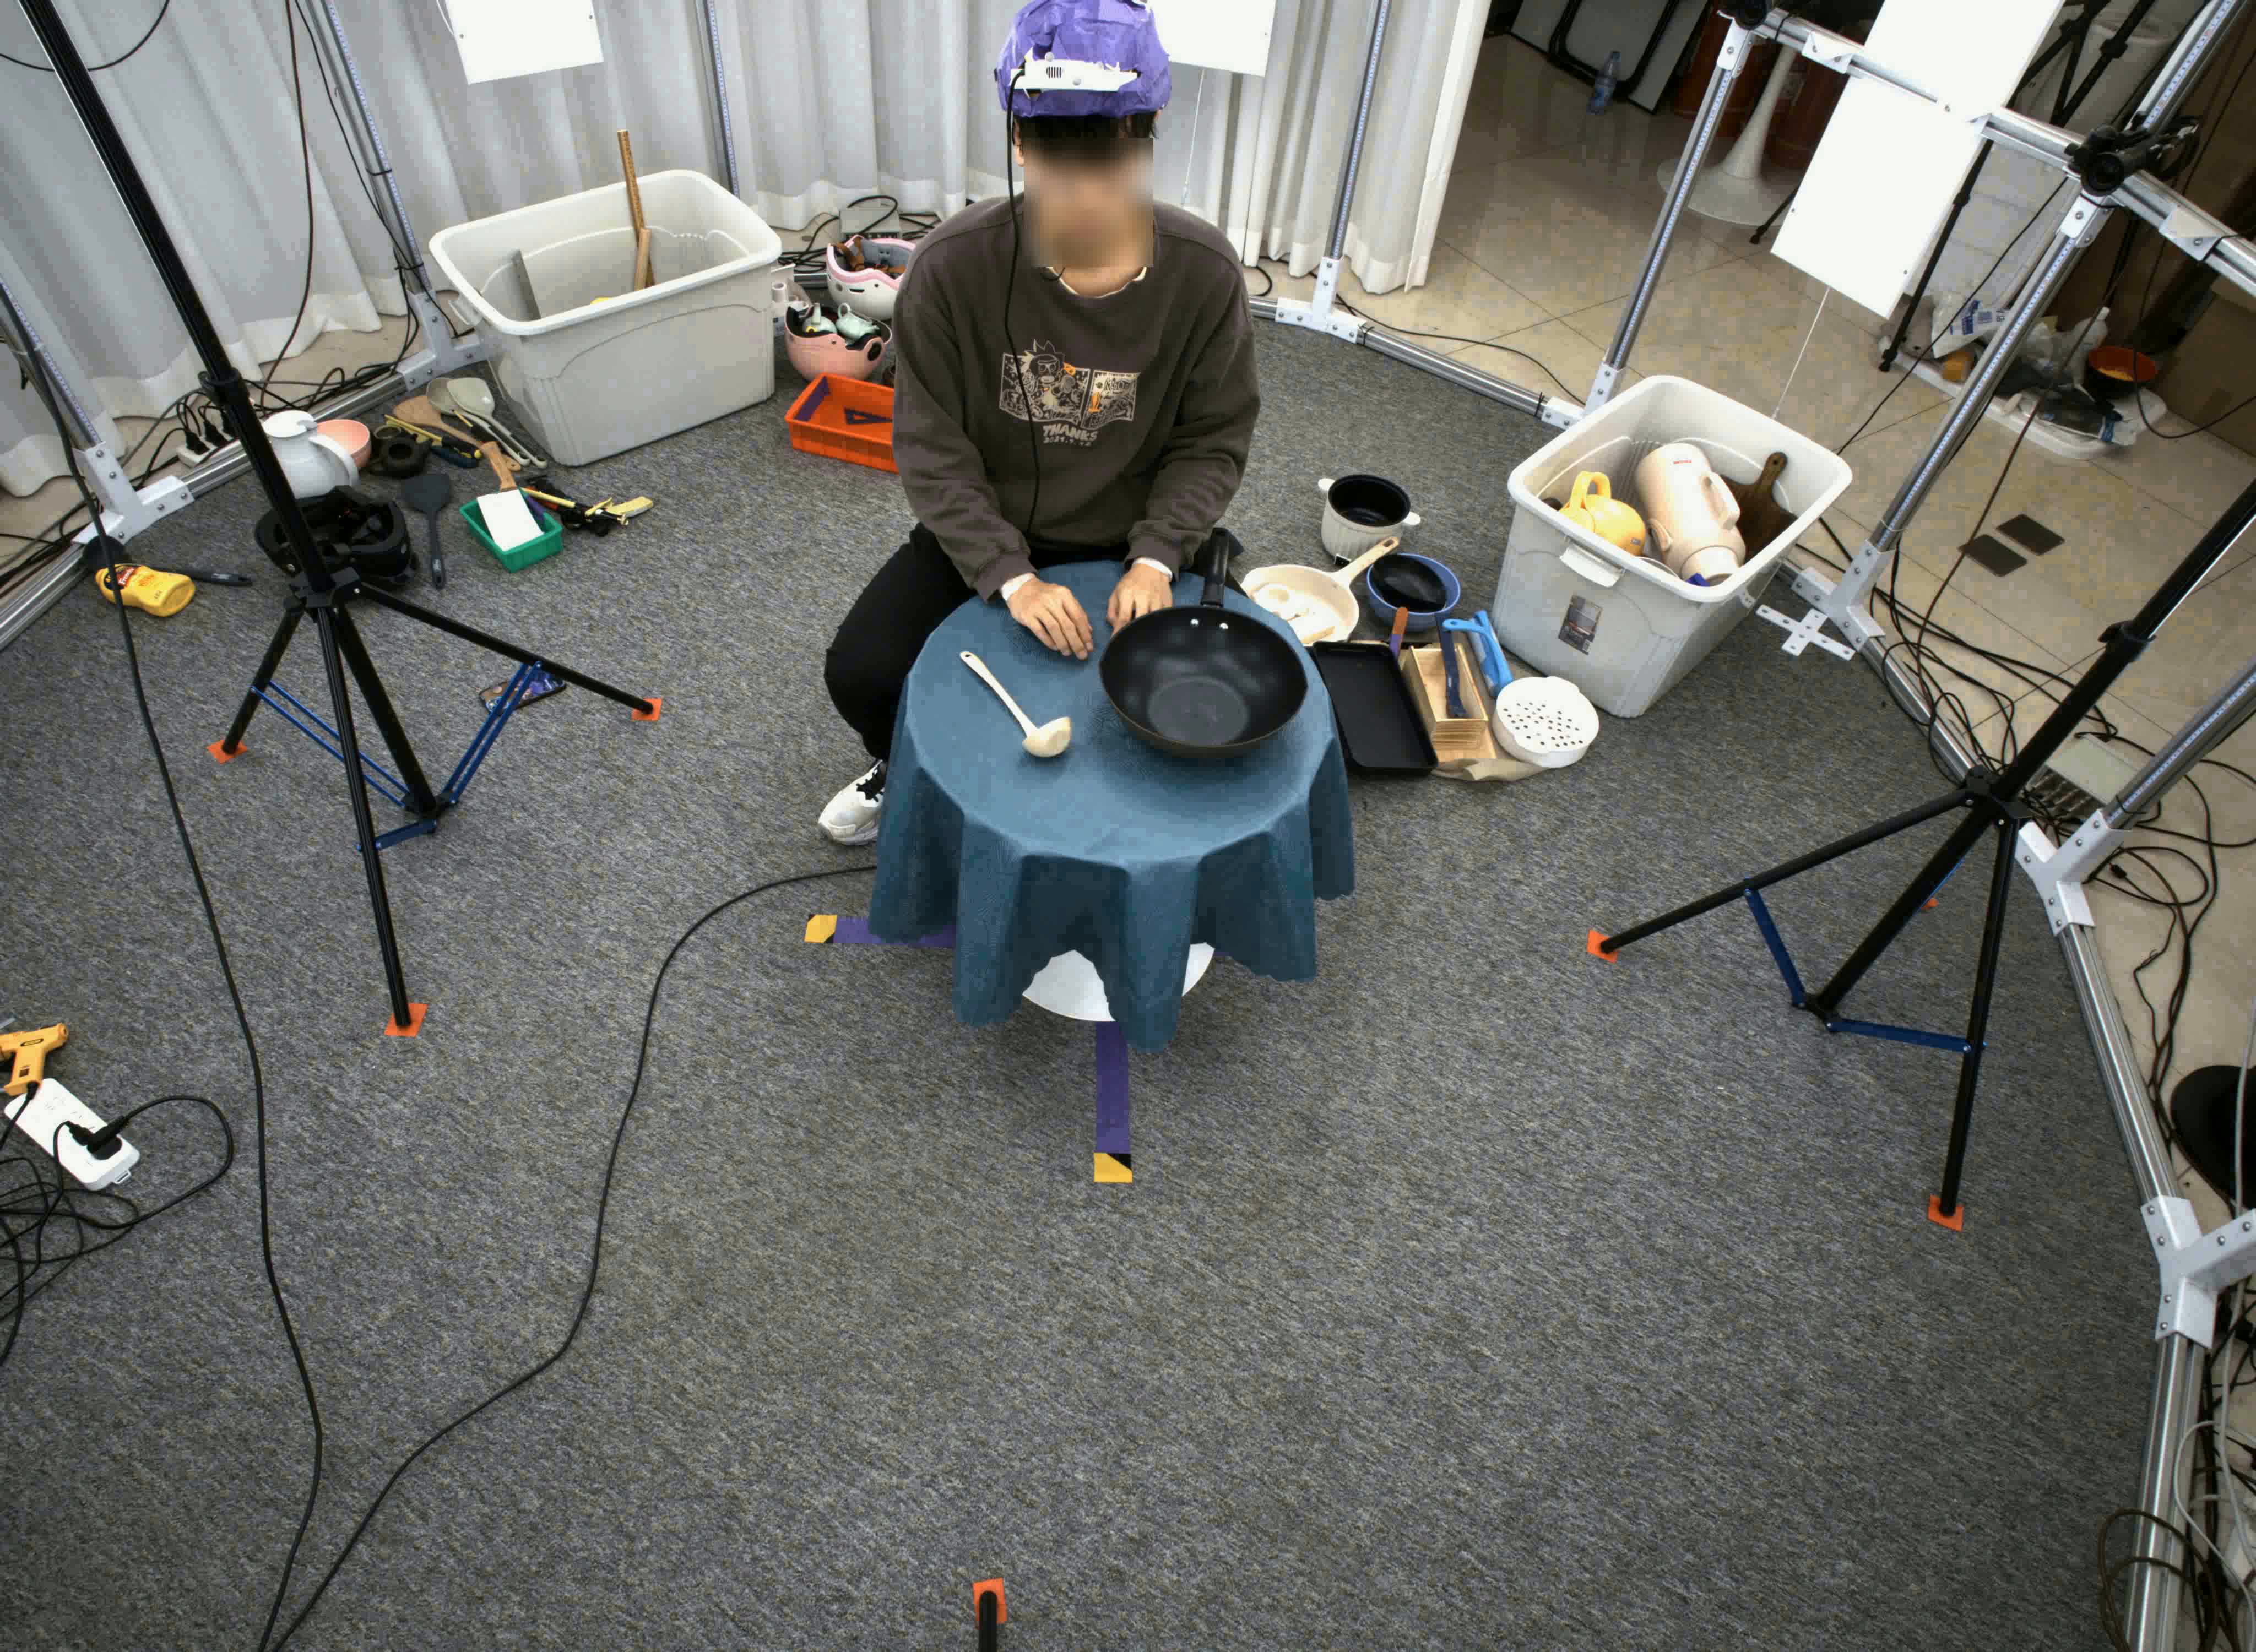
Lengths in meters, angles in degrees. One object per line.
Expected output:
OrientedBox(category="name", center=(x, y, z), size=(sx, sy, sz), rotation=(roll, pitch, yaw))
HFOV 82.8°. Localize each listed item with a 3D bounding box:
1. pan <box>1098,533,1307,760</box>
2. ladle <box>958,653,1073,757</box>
OrientedBox(category="pan", center=(0.111, -0.253, 1.839), size=(0.288, 0.085, 0.474), rotation=(7, 48, 3))
OrientedBox(category="ladle", center=(-0.167, -0.189, 1.773), size=(0.072, 0.071, 0.259), rotation=(-31, 57, -20))
